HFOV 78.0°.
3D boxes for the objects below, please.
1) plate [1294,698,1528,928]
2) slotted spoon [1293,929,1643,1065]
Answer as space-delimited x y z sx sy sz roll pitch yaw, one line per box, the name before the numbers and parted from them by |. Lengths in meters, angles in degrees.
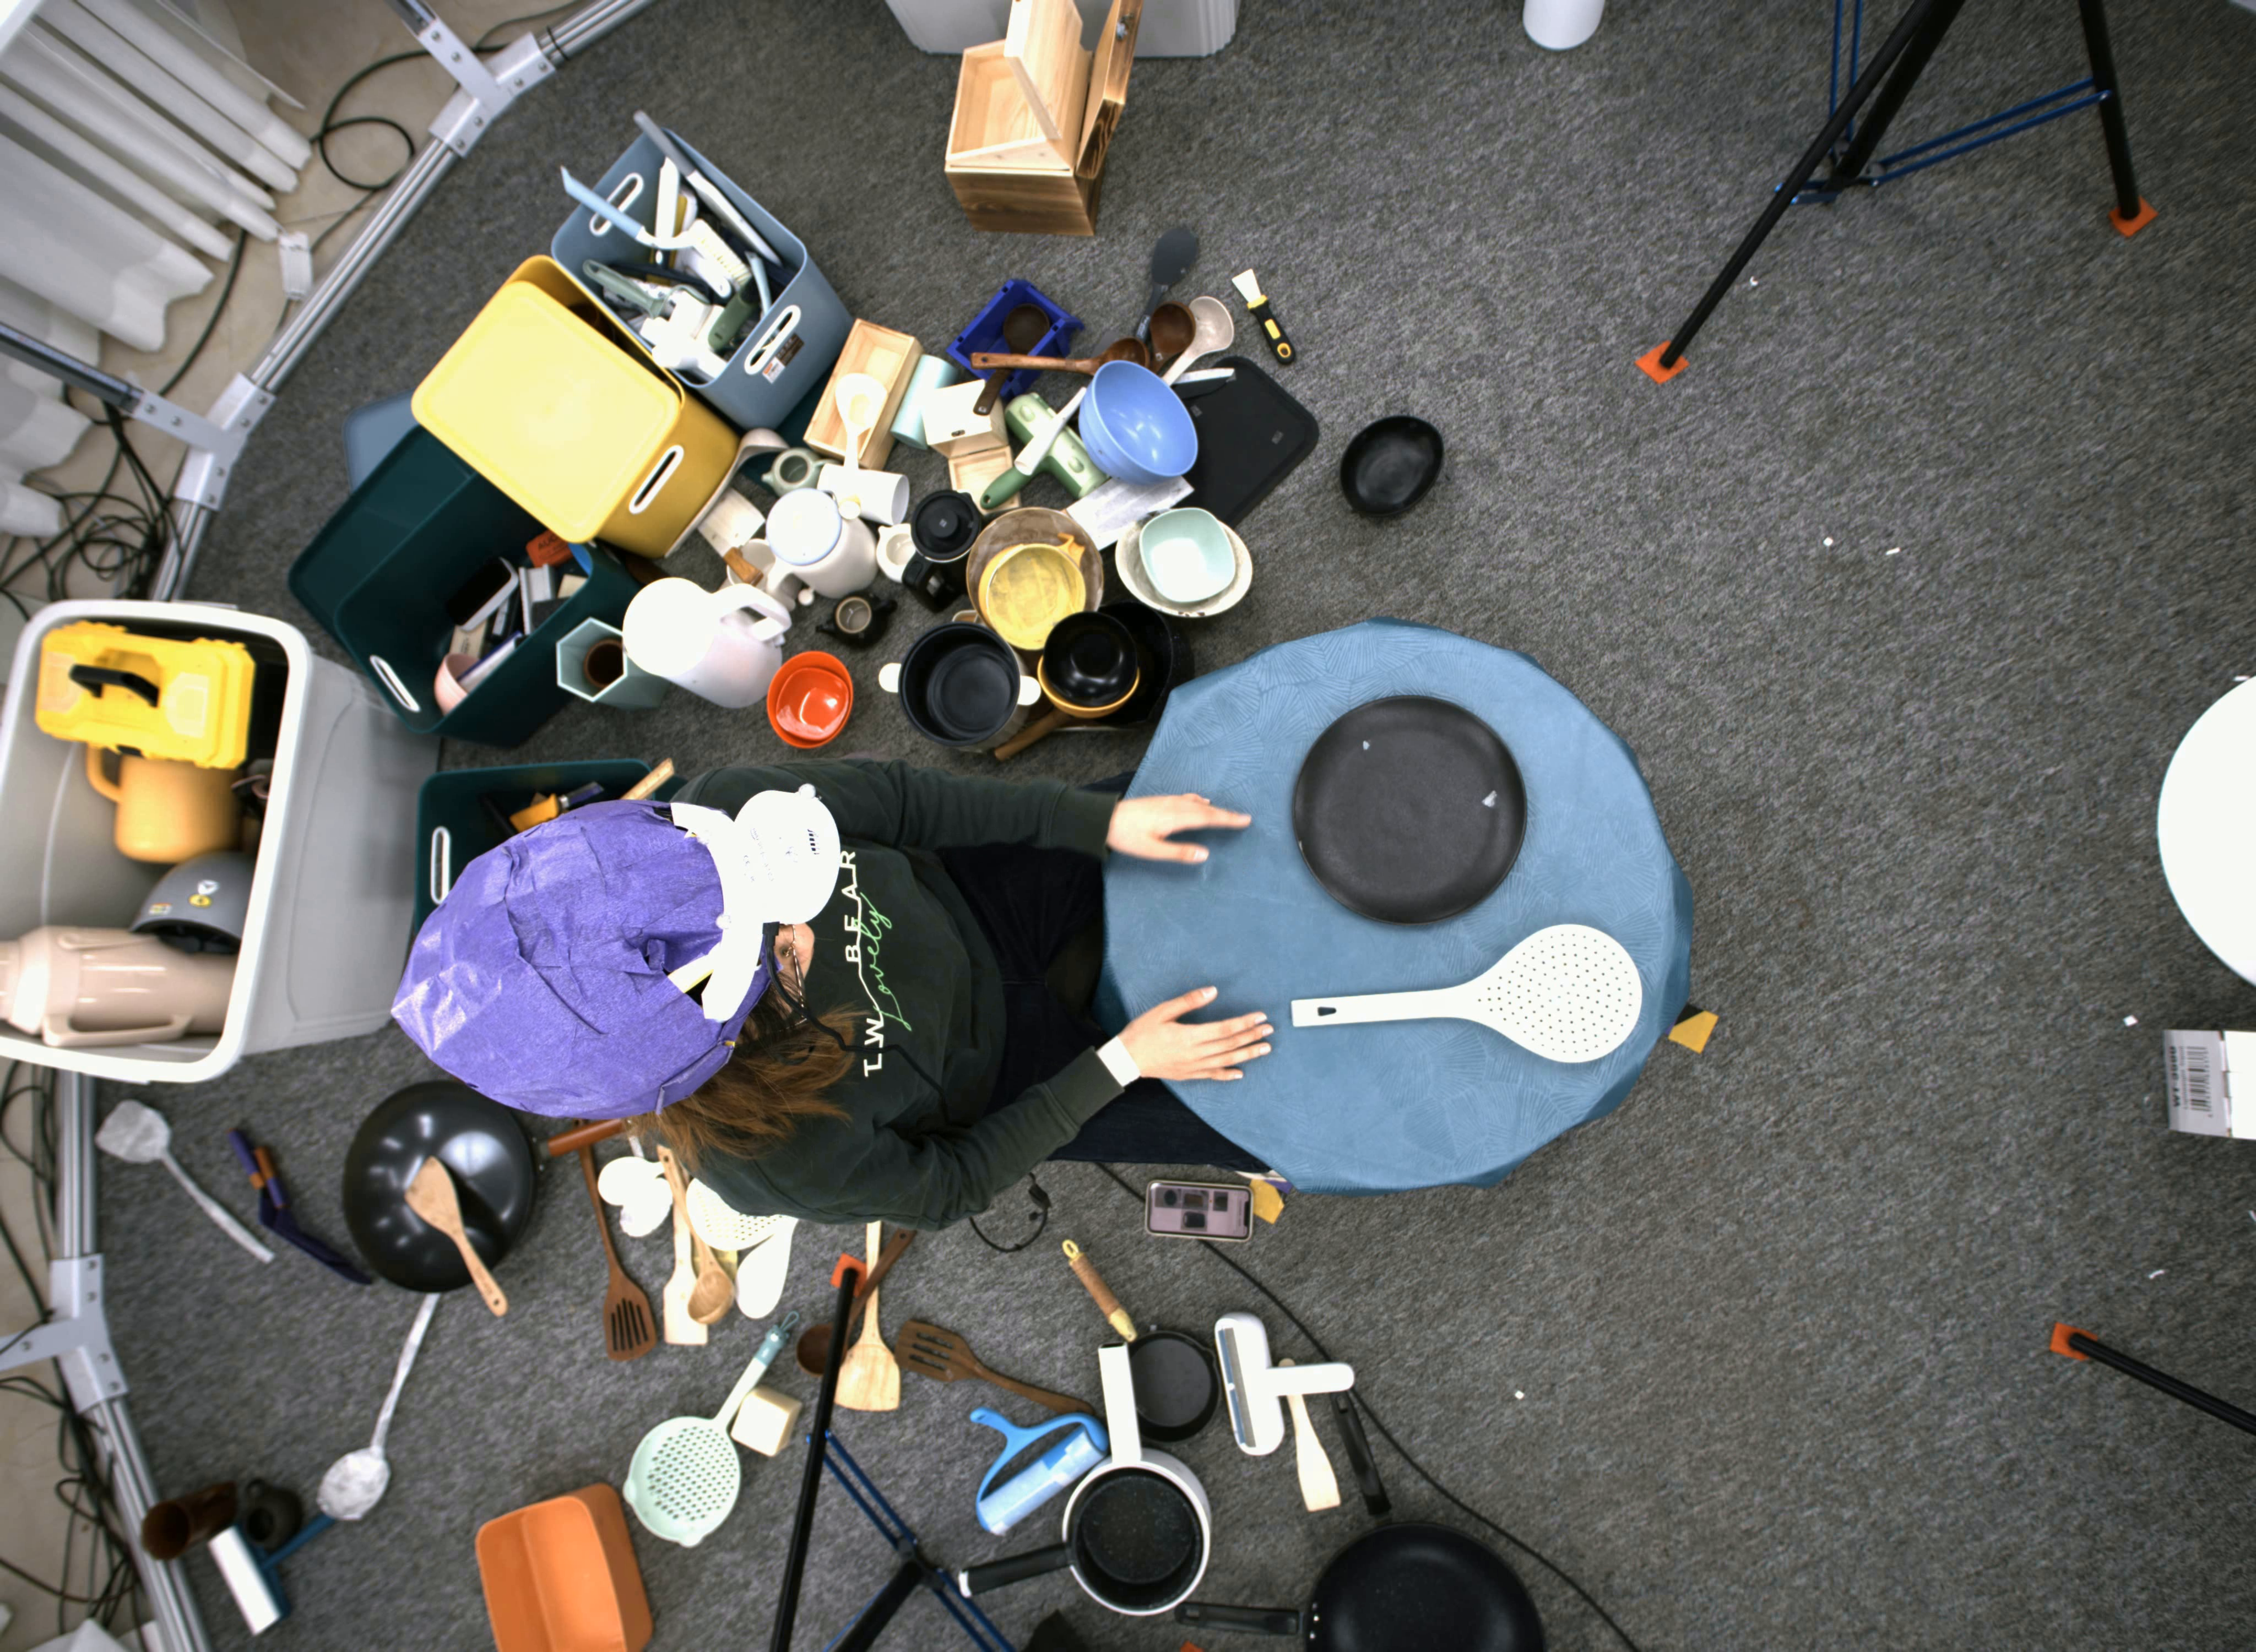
plate | 0.297 -0.015 1.454 0.245 0.023 0.243 -1 86 10
slotted spoon | 0.345 0.181 1.421 0.351 0.046 0.135 -5 83 11
